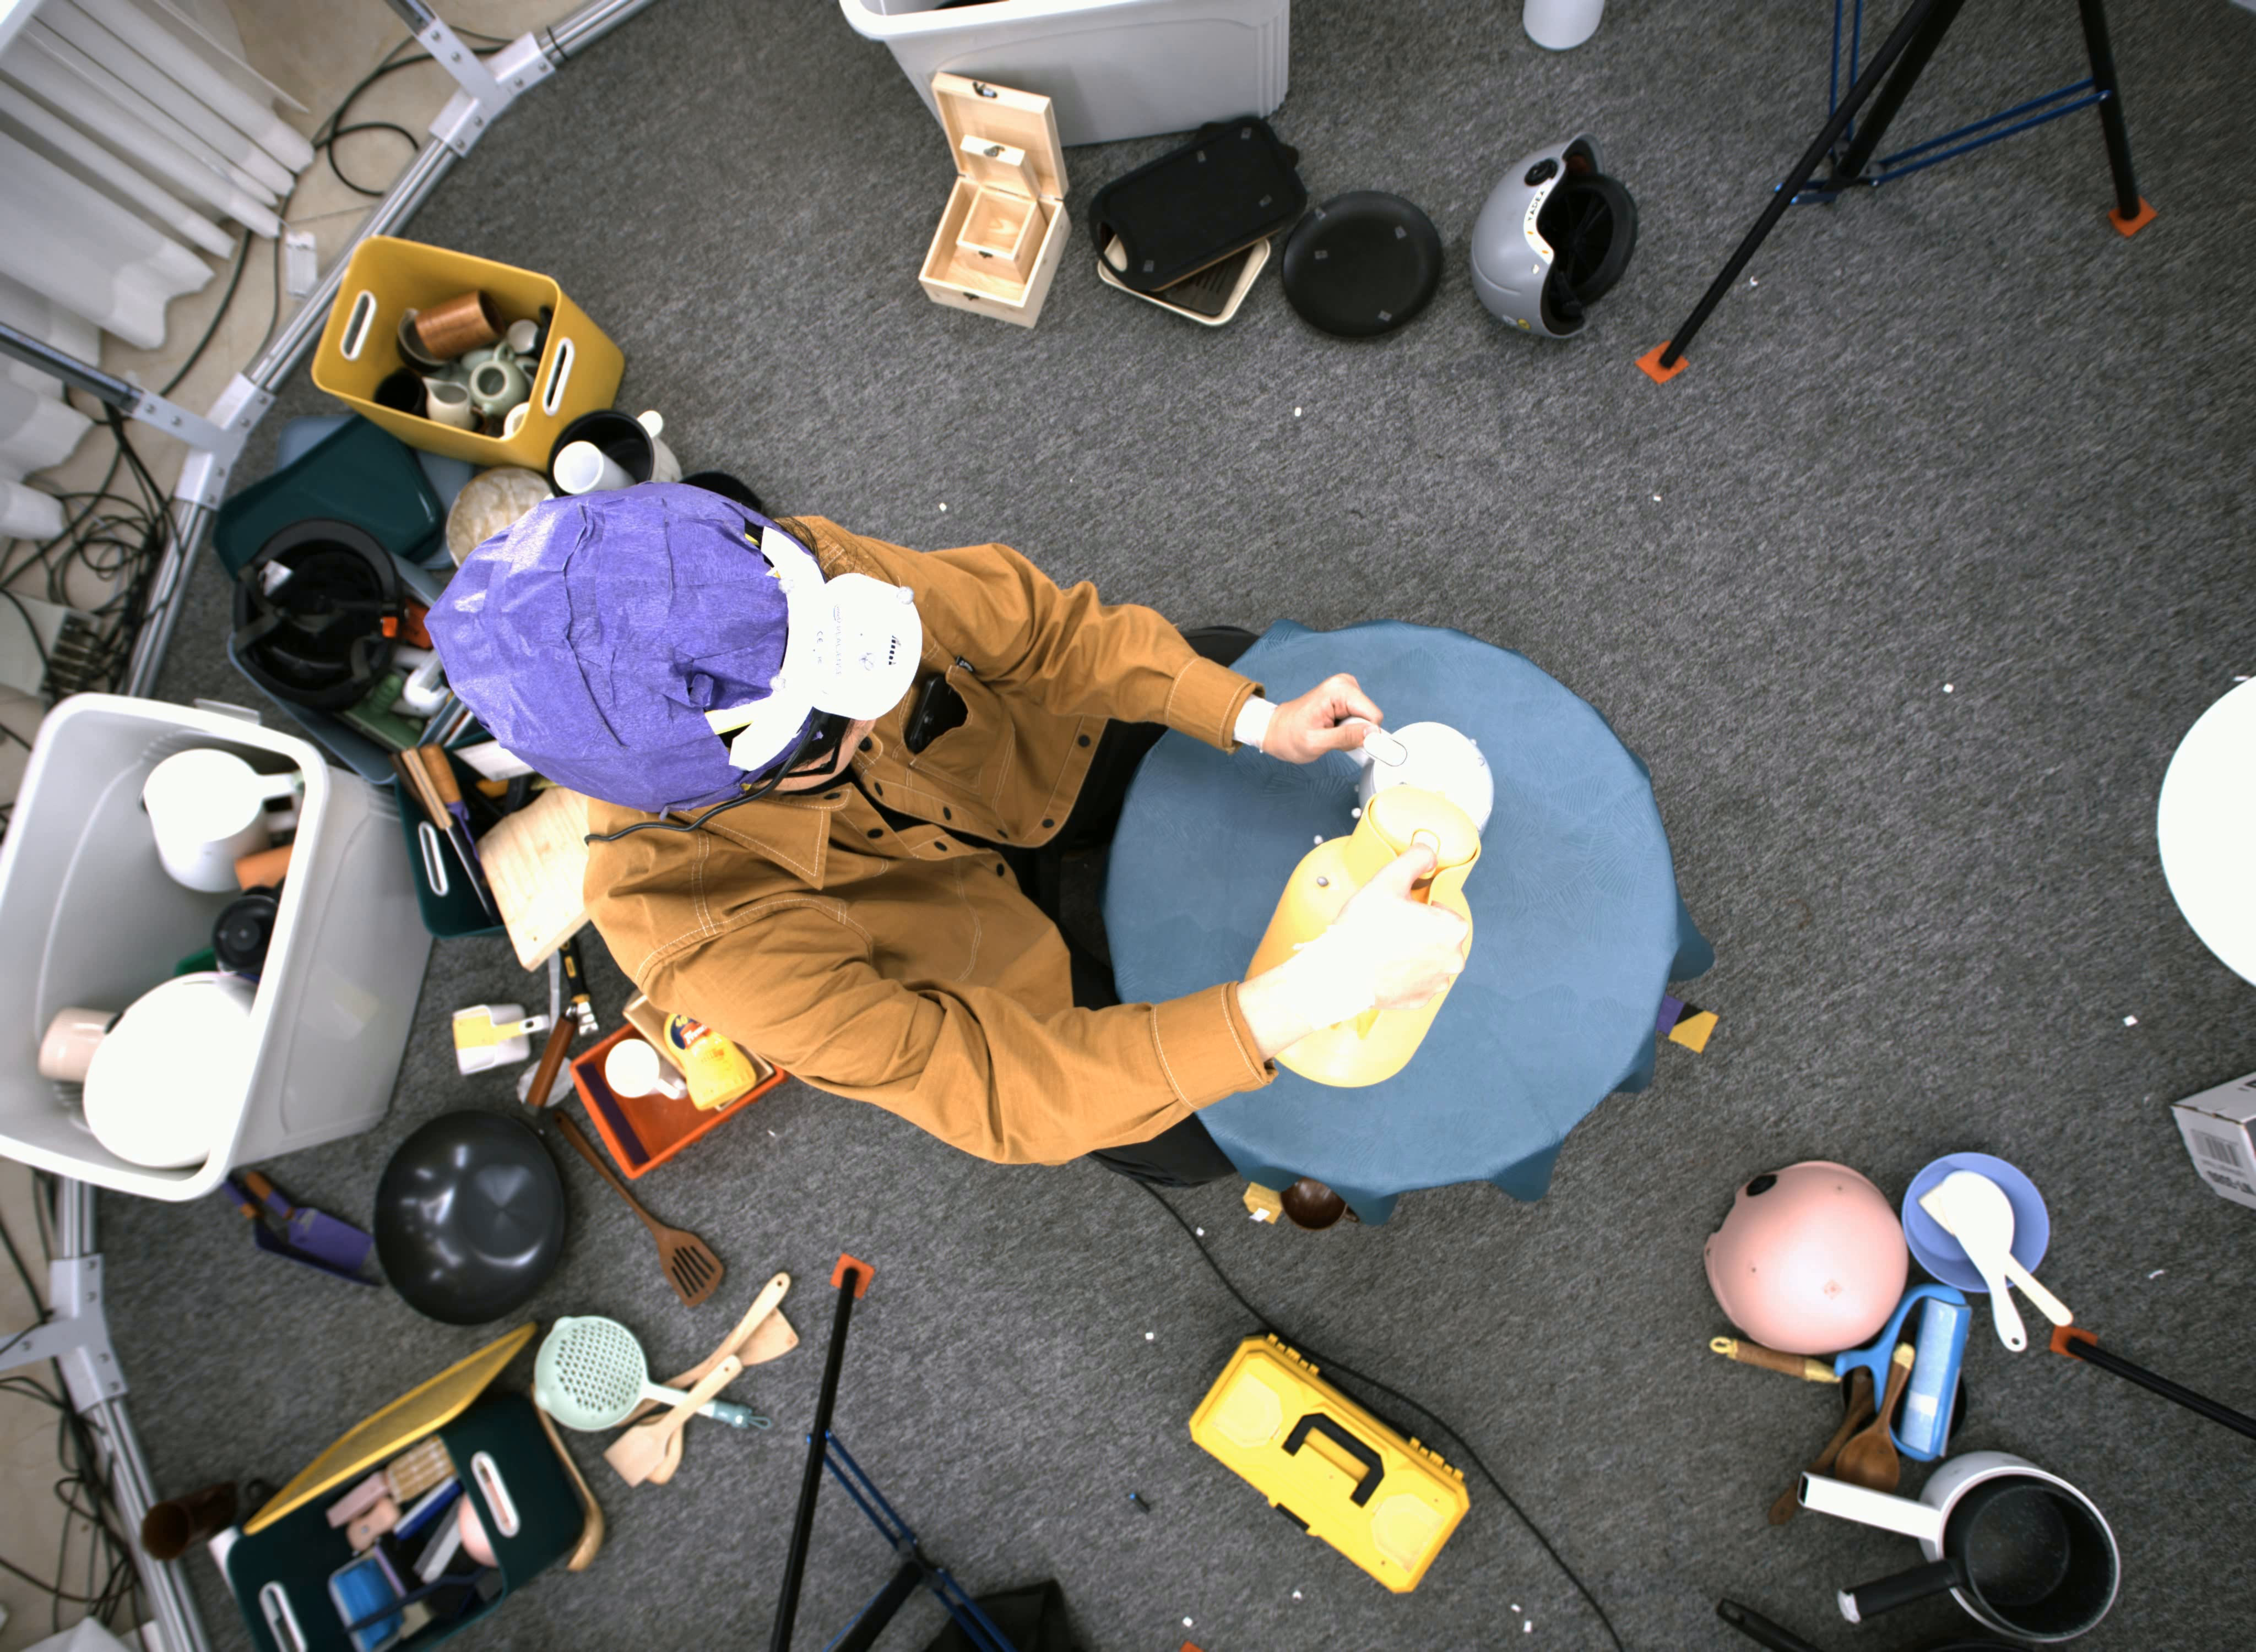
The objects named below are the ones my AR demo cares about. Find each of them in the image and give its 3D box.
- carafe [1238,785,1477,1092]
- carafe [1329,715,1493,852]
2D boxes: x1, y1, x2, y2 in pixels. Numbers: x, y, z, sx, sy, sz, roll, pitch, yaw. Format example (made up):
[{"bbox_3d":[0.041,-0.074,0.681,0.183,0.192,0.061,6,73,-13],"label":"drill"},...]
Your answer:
[{"bbox_3d":[0.194,0.100,1.149,0.163,0.197,0.267,21,127,4],"label":"carafe"},{"bbox_3d":[0.267,-0.045,1.312,0.167,0.248,0.133,36,94,13],"label":"carafe"}]
